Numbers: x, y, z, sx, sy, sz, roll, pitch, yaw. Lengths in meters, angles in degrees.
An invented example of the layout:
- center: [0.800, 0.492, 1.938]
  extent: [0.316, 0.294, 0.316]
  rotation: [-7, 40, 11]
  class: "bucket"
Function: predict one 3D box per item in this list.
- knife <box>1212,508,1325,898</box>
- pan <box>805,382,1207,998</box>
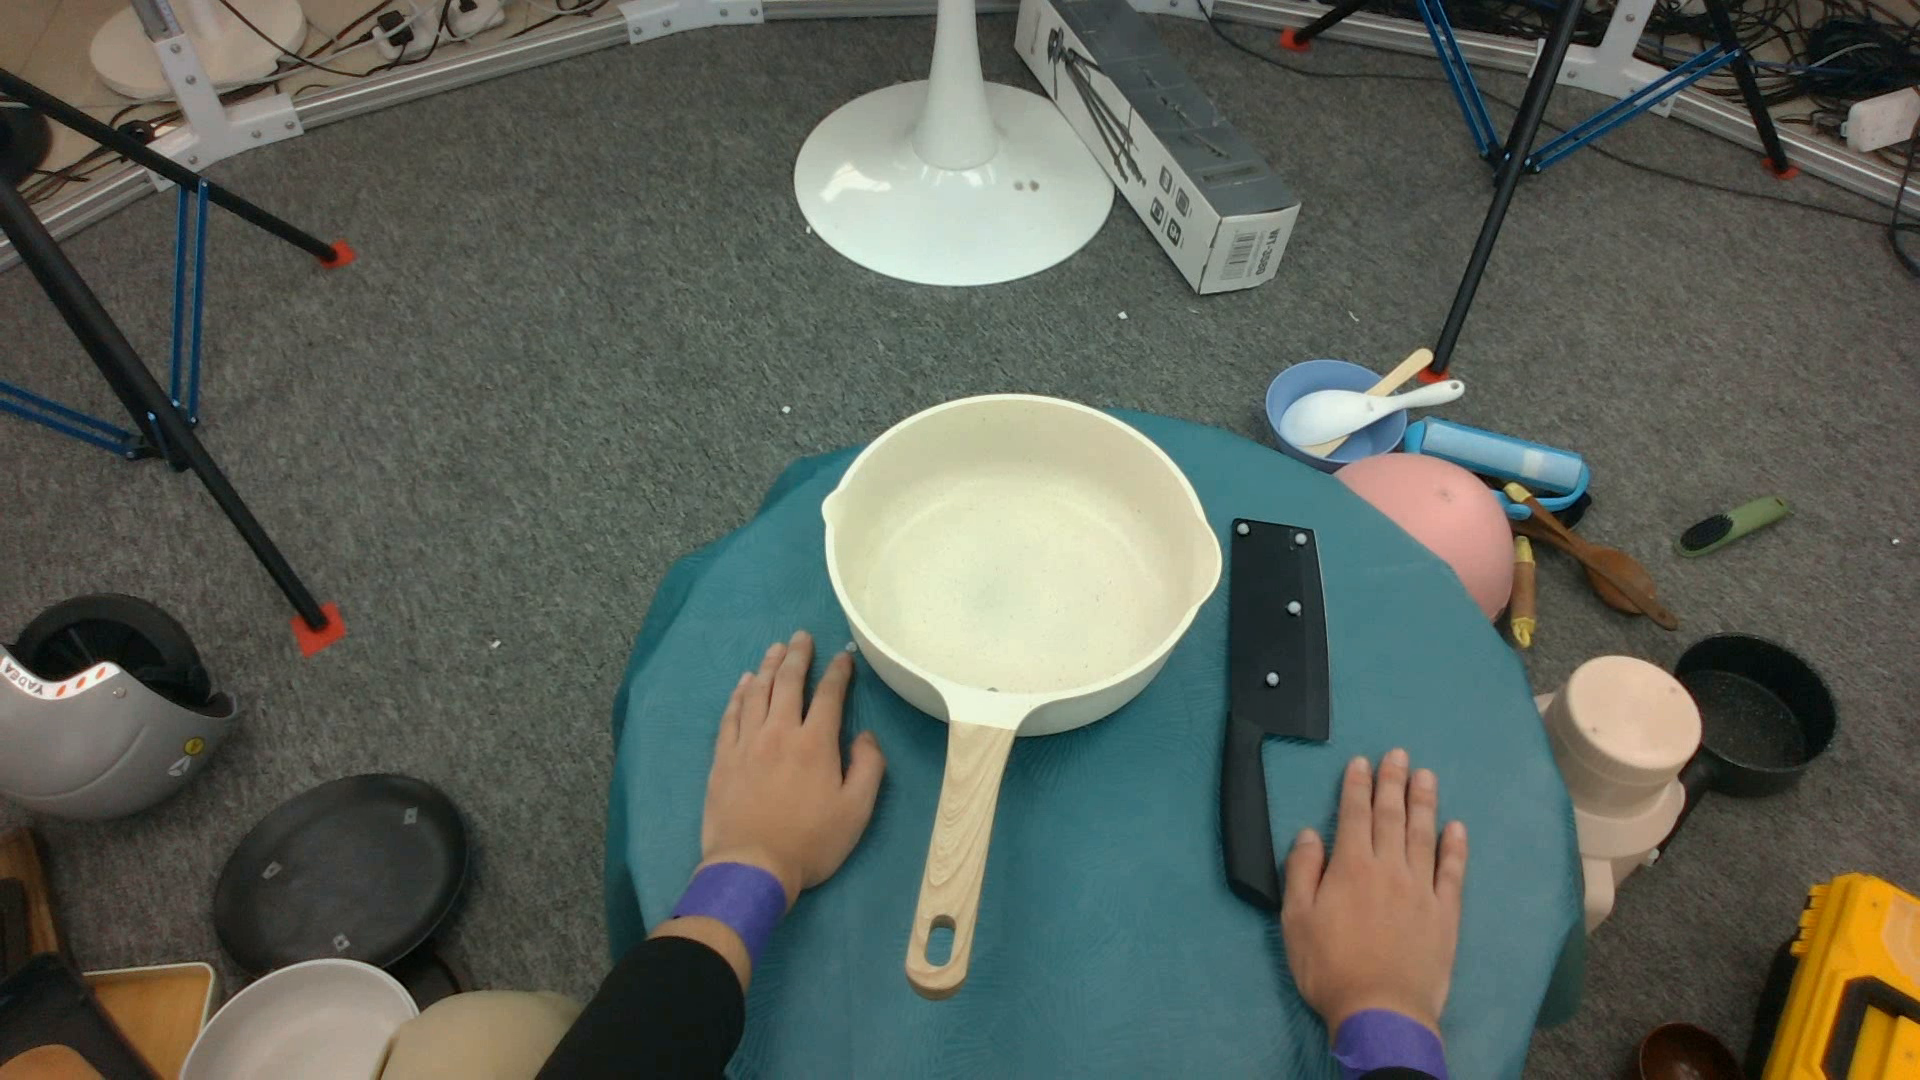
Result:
- center: [0.202, 0.094, 0.912]
  extent: [0.081, 0.021, 0.304]
  rotation: [11, 51, 5]
  class: "knife"
- center: [0.014, 0.082, 0.861]
  extent: [0.263, 0.101, 0.437]
  rotation: [9, 53, 2]
  class: "pan"
